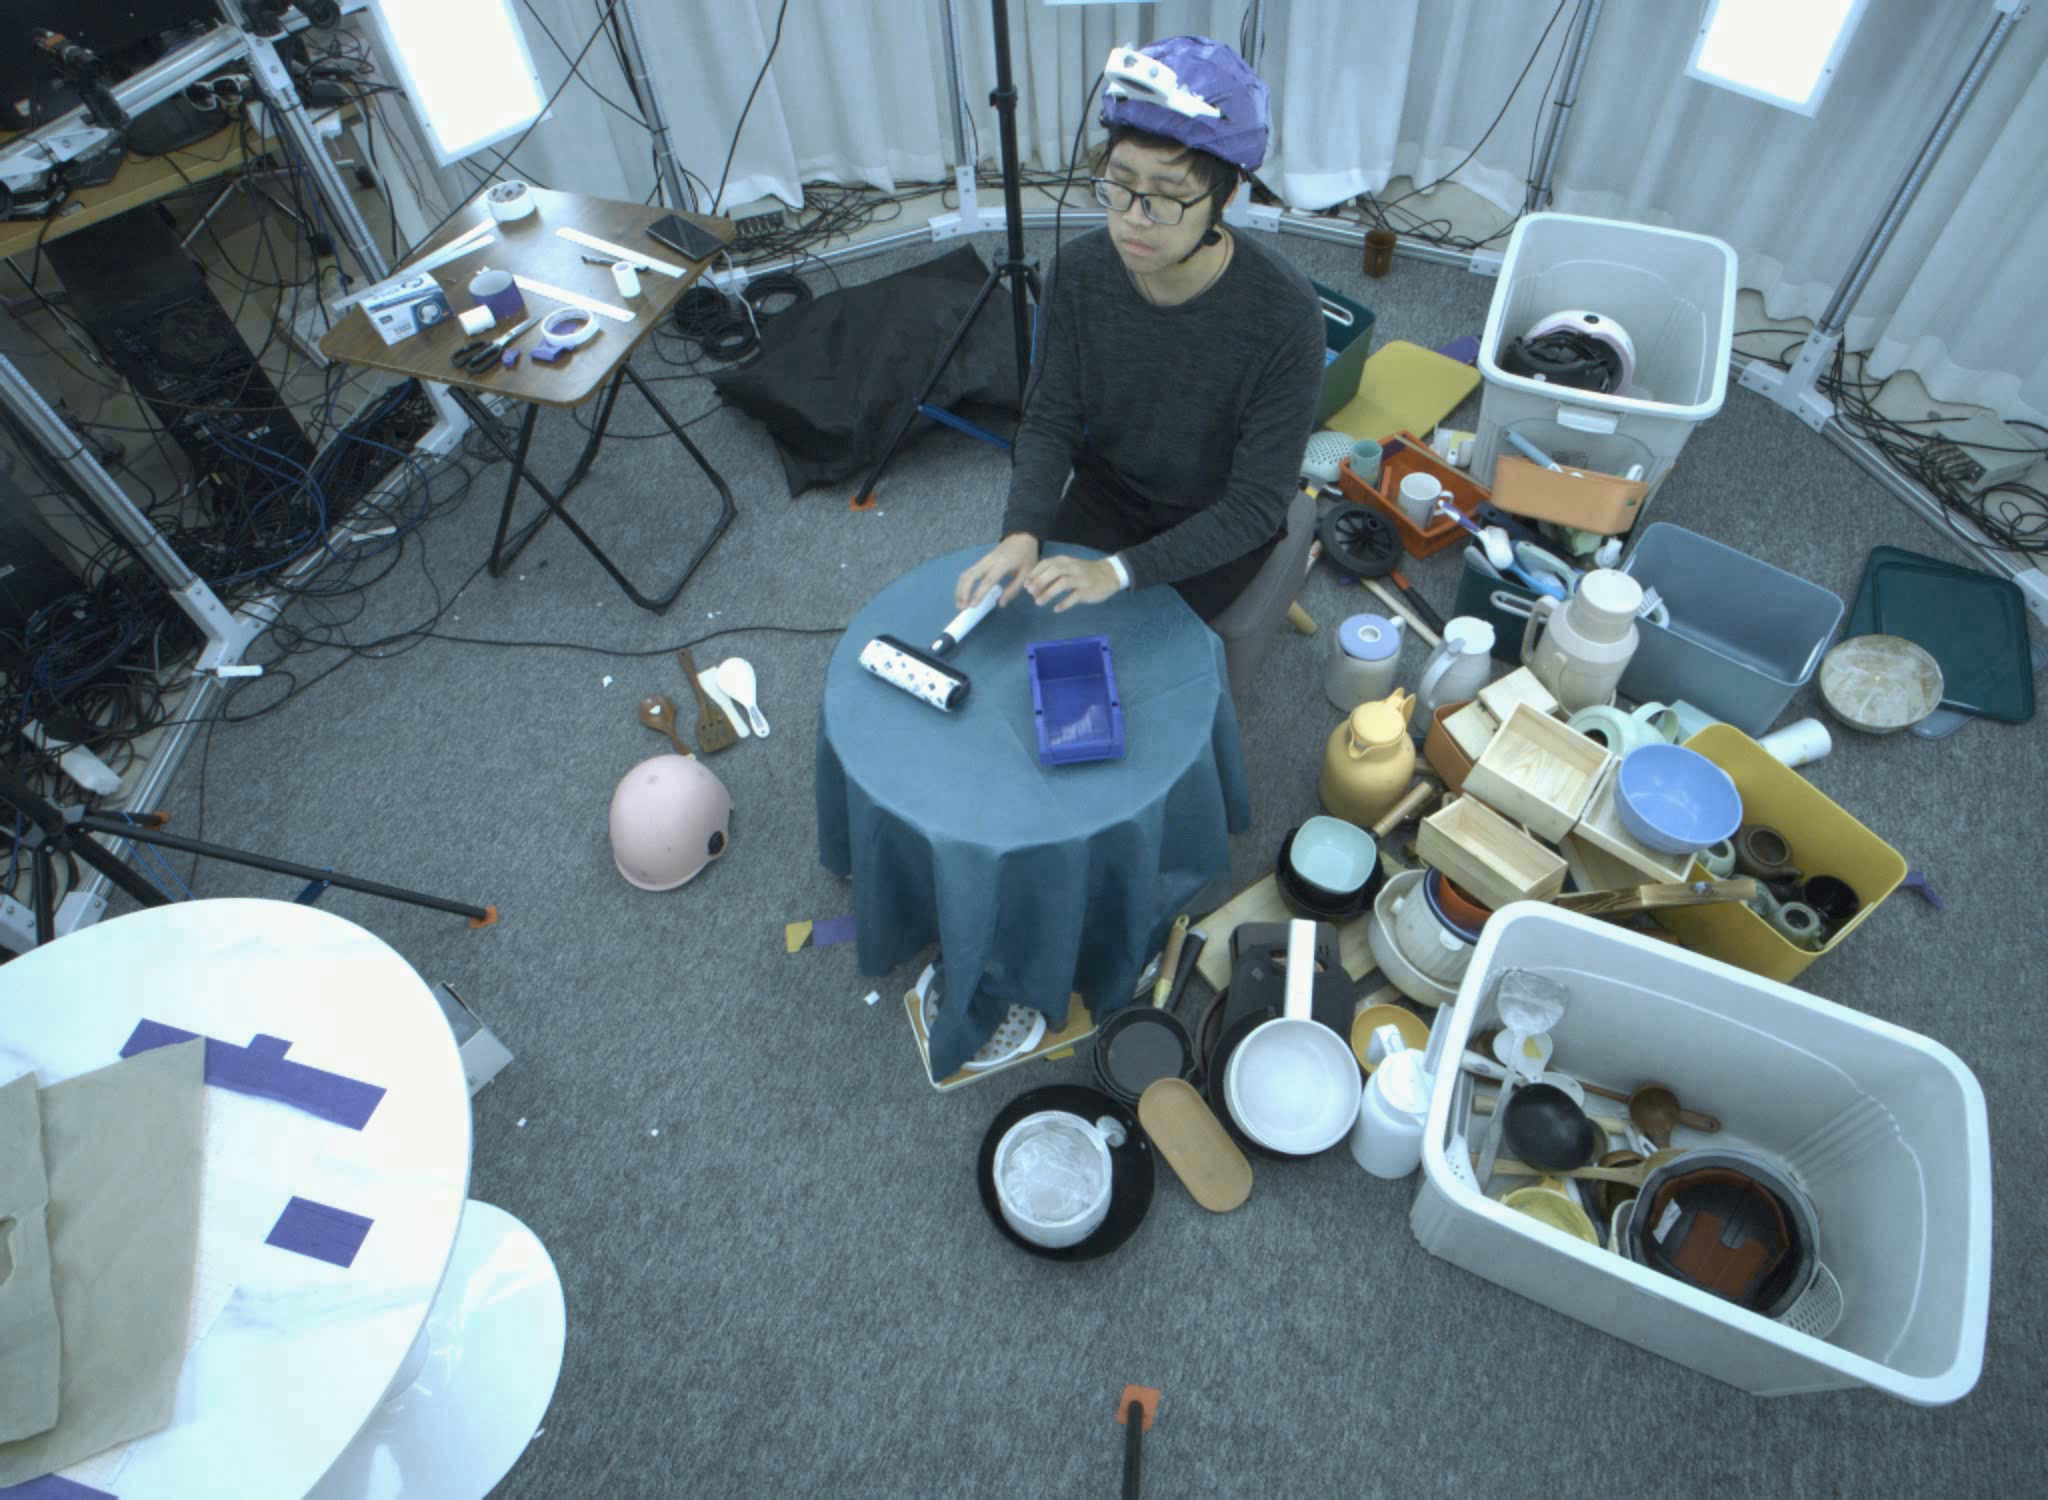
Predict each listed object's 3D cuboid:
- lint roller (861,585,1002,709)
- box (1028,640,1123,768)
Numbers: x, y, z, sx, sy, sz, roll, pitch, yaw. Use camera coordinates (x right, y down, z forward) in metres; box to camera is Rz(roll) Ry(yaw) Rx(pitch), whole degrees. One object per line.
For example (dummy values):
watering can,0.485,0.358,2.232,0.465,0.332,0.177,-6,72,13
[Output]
lint roller,-0.114,-0.182,1.893,0.173,0.051,0.248,27,59,21
box,0.076,-0.063,1.779,0.125,0.083,0.177,-5,52,-1
